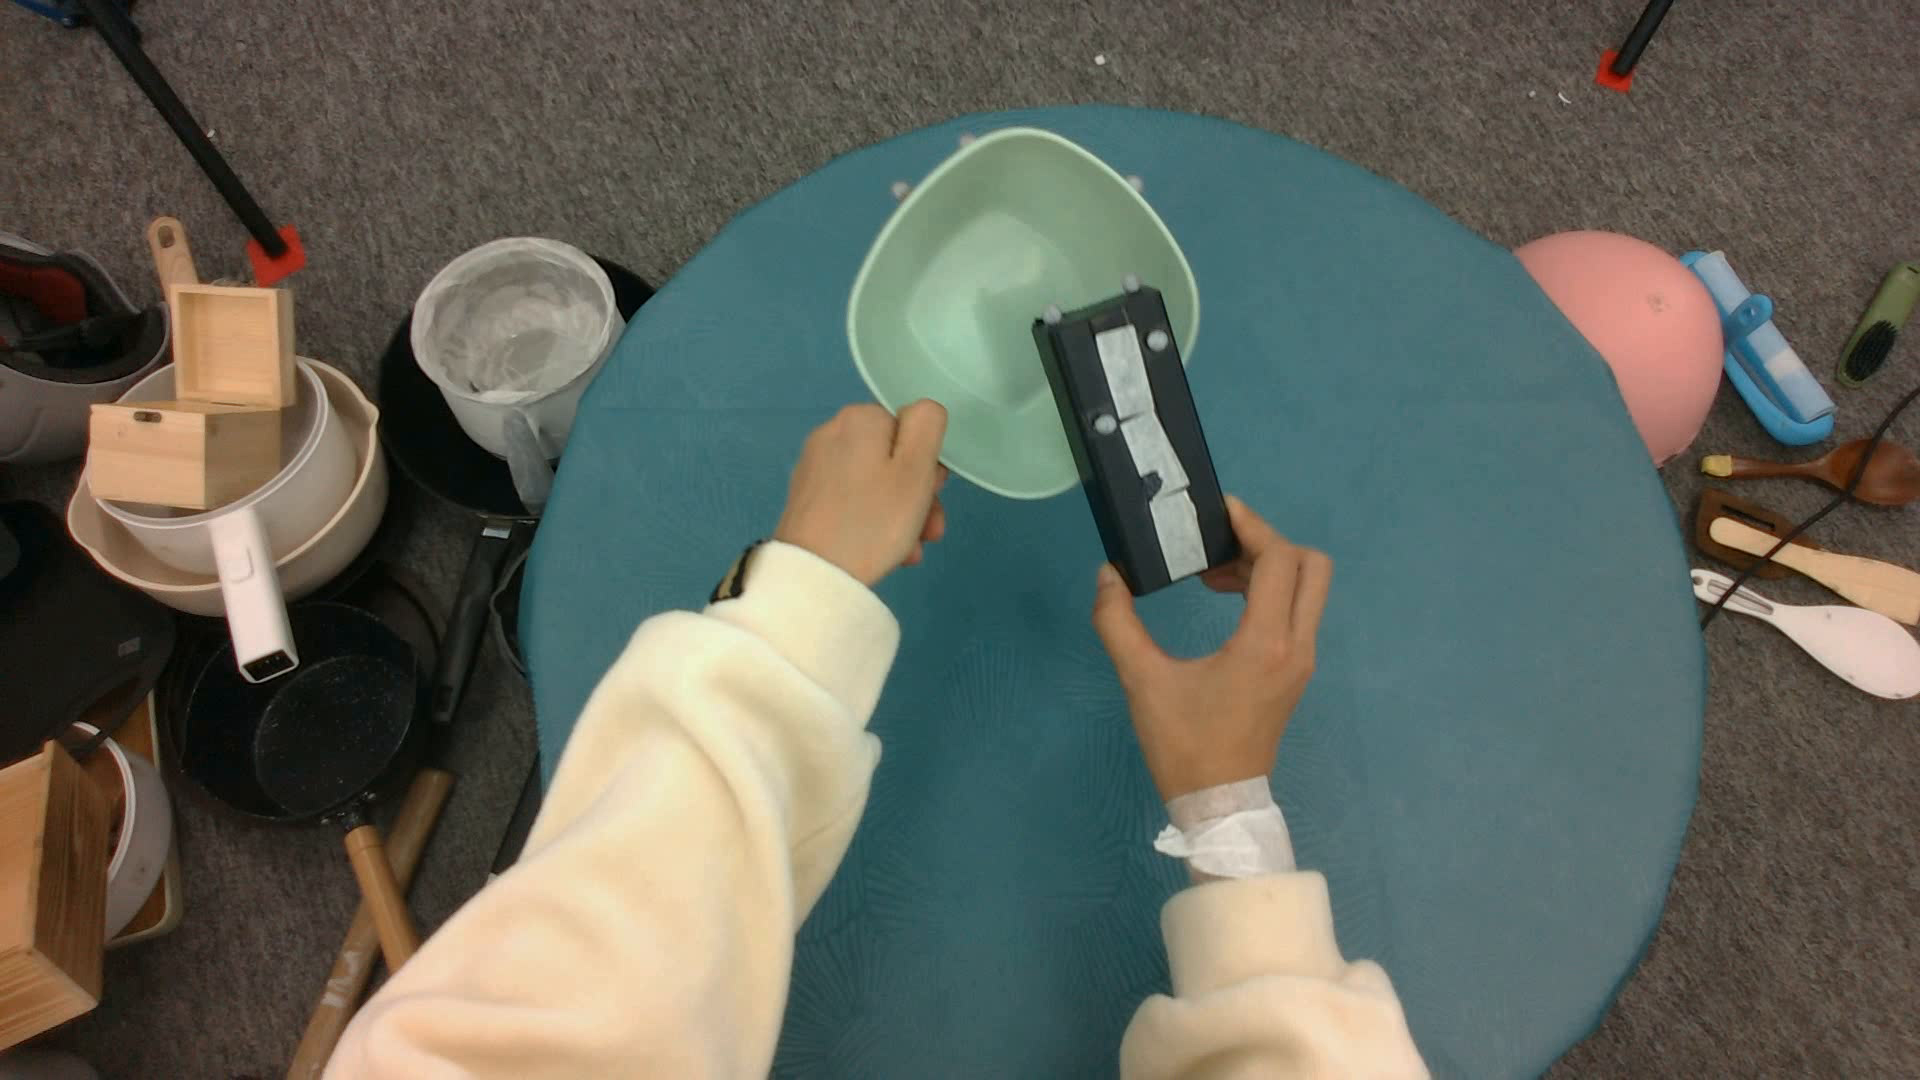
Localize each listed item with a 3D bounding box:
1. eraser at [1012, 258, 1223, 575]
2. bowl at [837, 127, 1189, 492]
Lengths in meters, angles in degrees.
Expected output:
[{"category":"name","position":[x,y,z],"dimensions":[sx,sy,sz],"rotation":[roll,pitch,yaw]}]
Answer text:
[{"category":"eraser","position":[0.066,-0.052,0.580],"dimensions":[0.053,0.030,0.125],"rotation":[-23,106,-6]},{"category":"bowl","position":[0.019,-0.100,0.602],"dimensions":[0.151,0.058,0.151],"rotation":[-2,101,-11]}]
